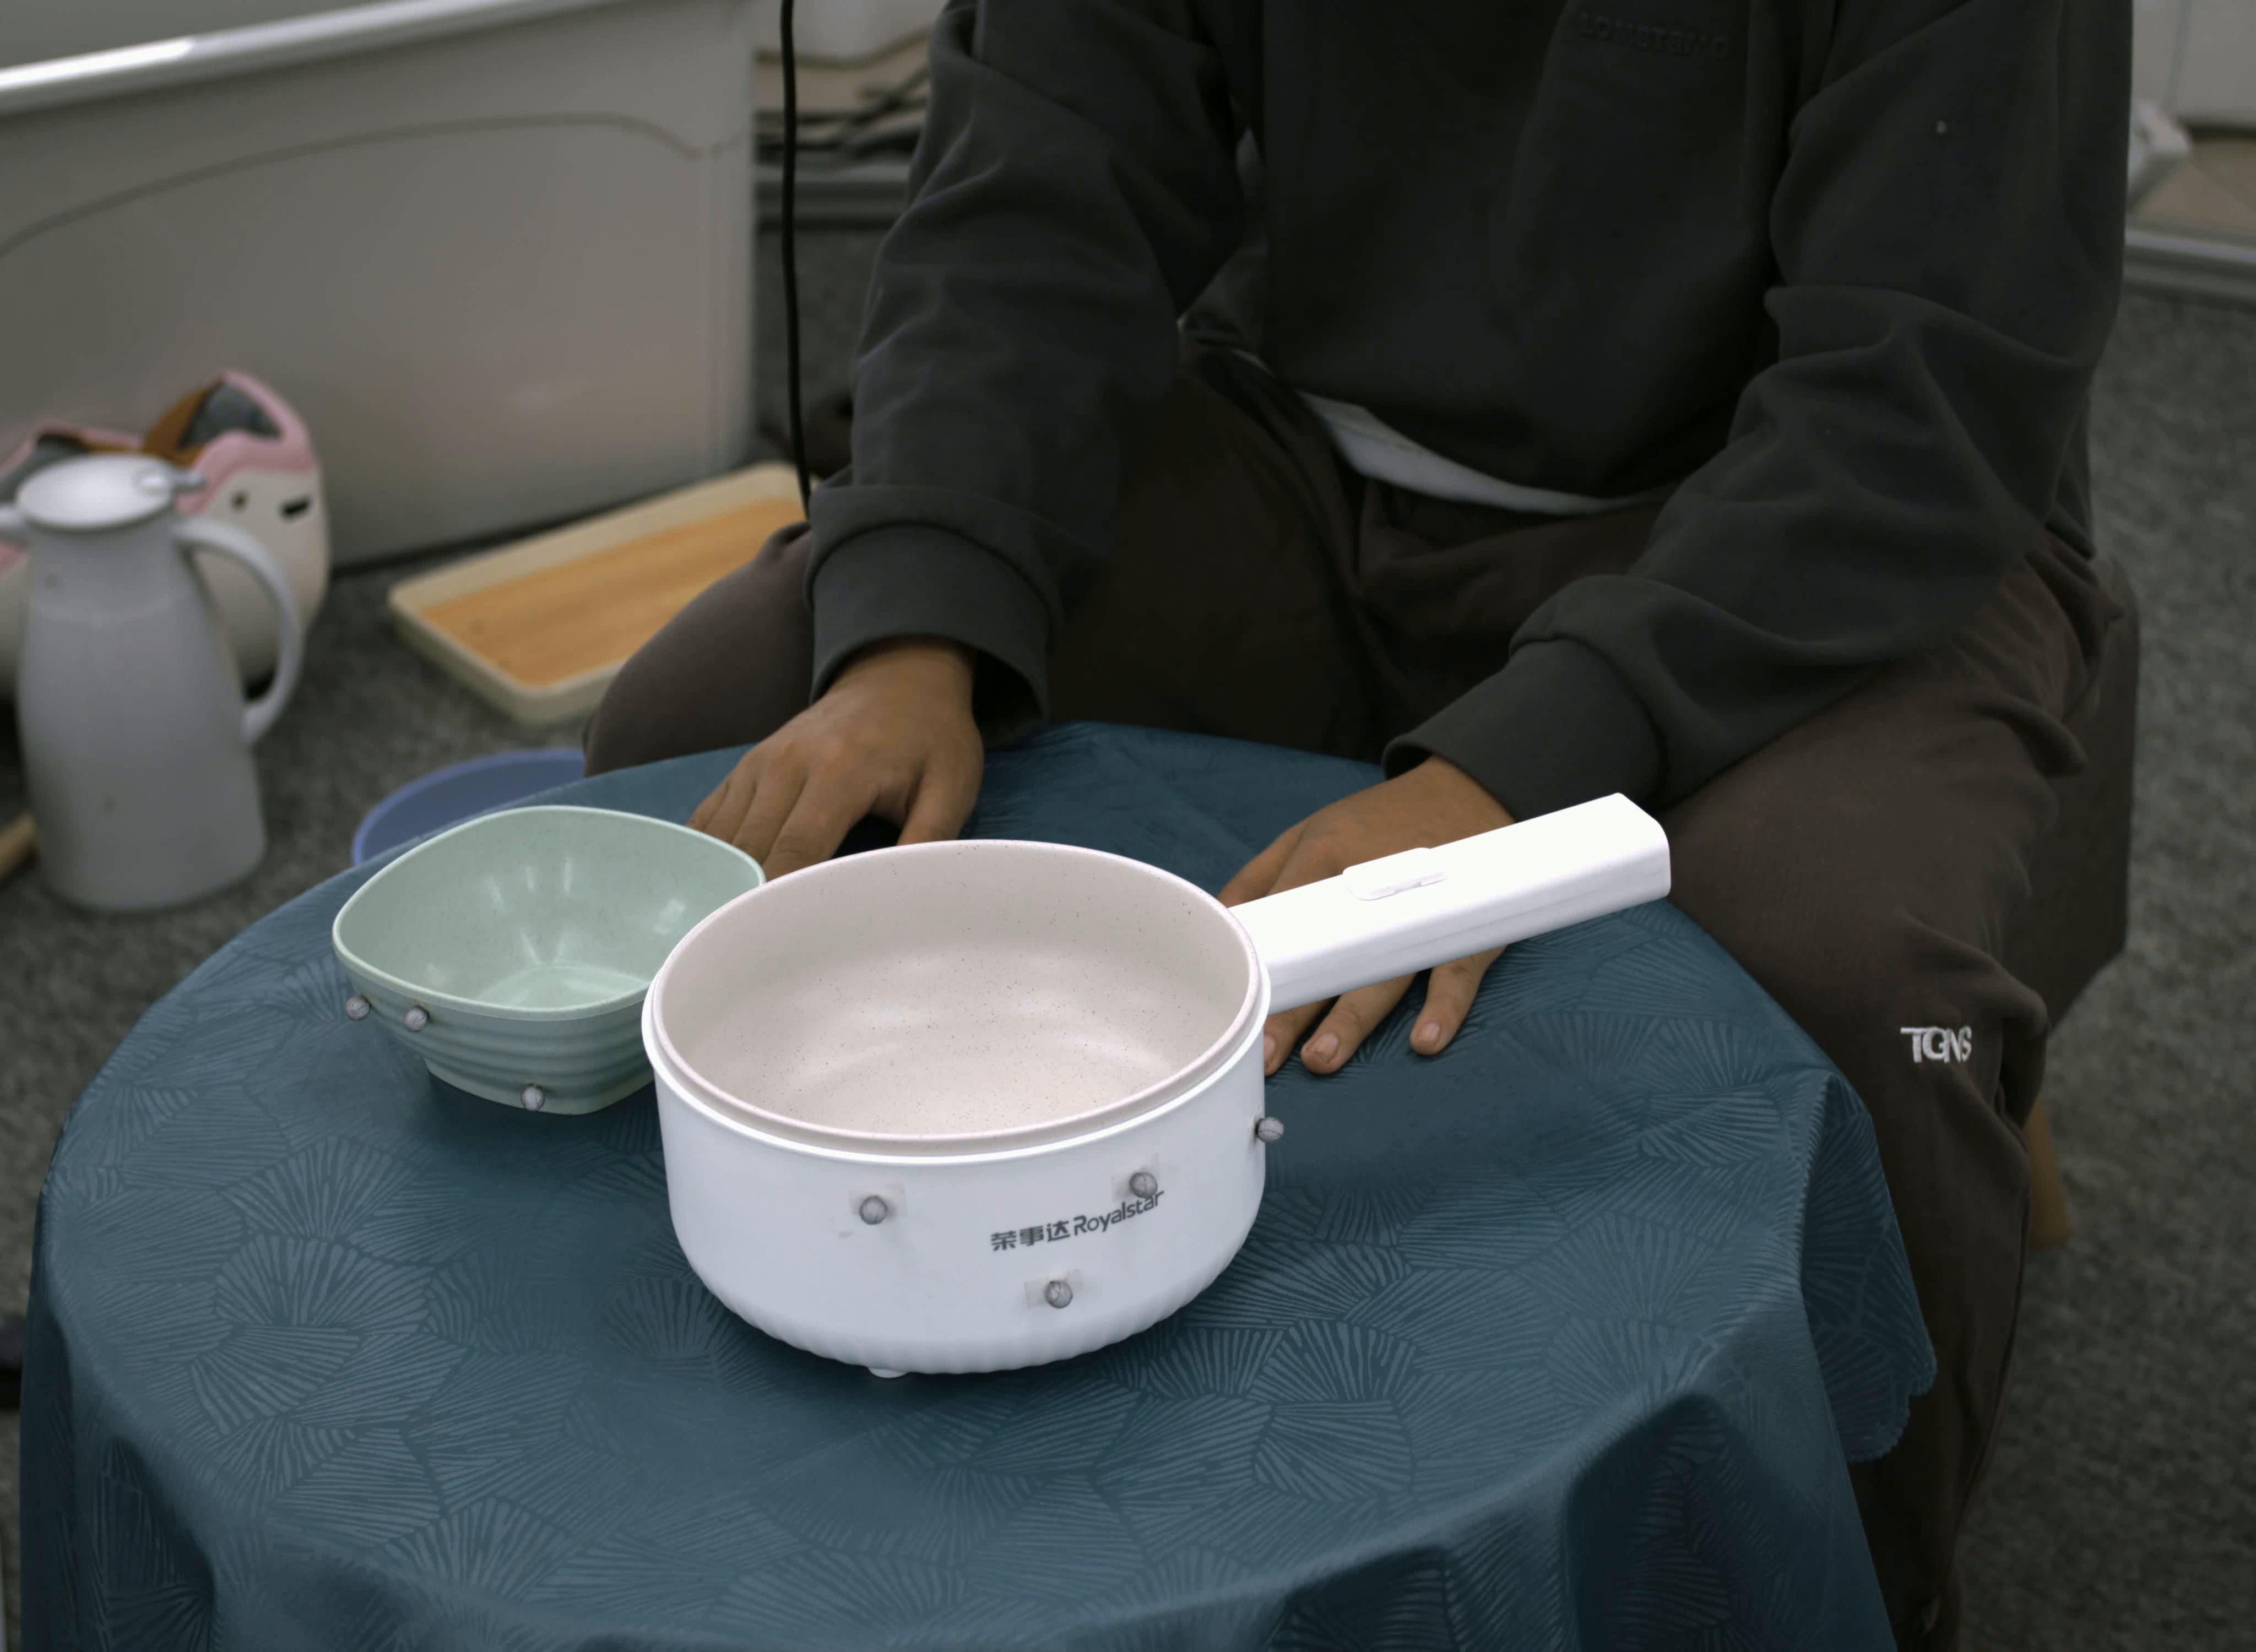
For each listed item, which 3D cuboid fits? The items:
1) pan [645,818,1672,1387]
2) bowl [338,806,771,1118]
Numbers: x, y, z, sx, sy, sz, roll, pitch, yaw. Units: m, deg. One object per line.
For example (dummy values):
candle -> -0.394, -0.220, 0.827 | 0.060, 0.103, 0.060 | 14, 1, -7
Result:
pan -> 0.016, 0.082, 1.846 | 0.356, 0.101, 0.202 | -14, 26, -23
bowl -> -0.196, 0.053, 1.952 | 0.150, 0.058, 0.154 | -3, 28, 2
